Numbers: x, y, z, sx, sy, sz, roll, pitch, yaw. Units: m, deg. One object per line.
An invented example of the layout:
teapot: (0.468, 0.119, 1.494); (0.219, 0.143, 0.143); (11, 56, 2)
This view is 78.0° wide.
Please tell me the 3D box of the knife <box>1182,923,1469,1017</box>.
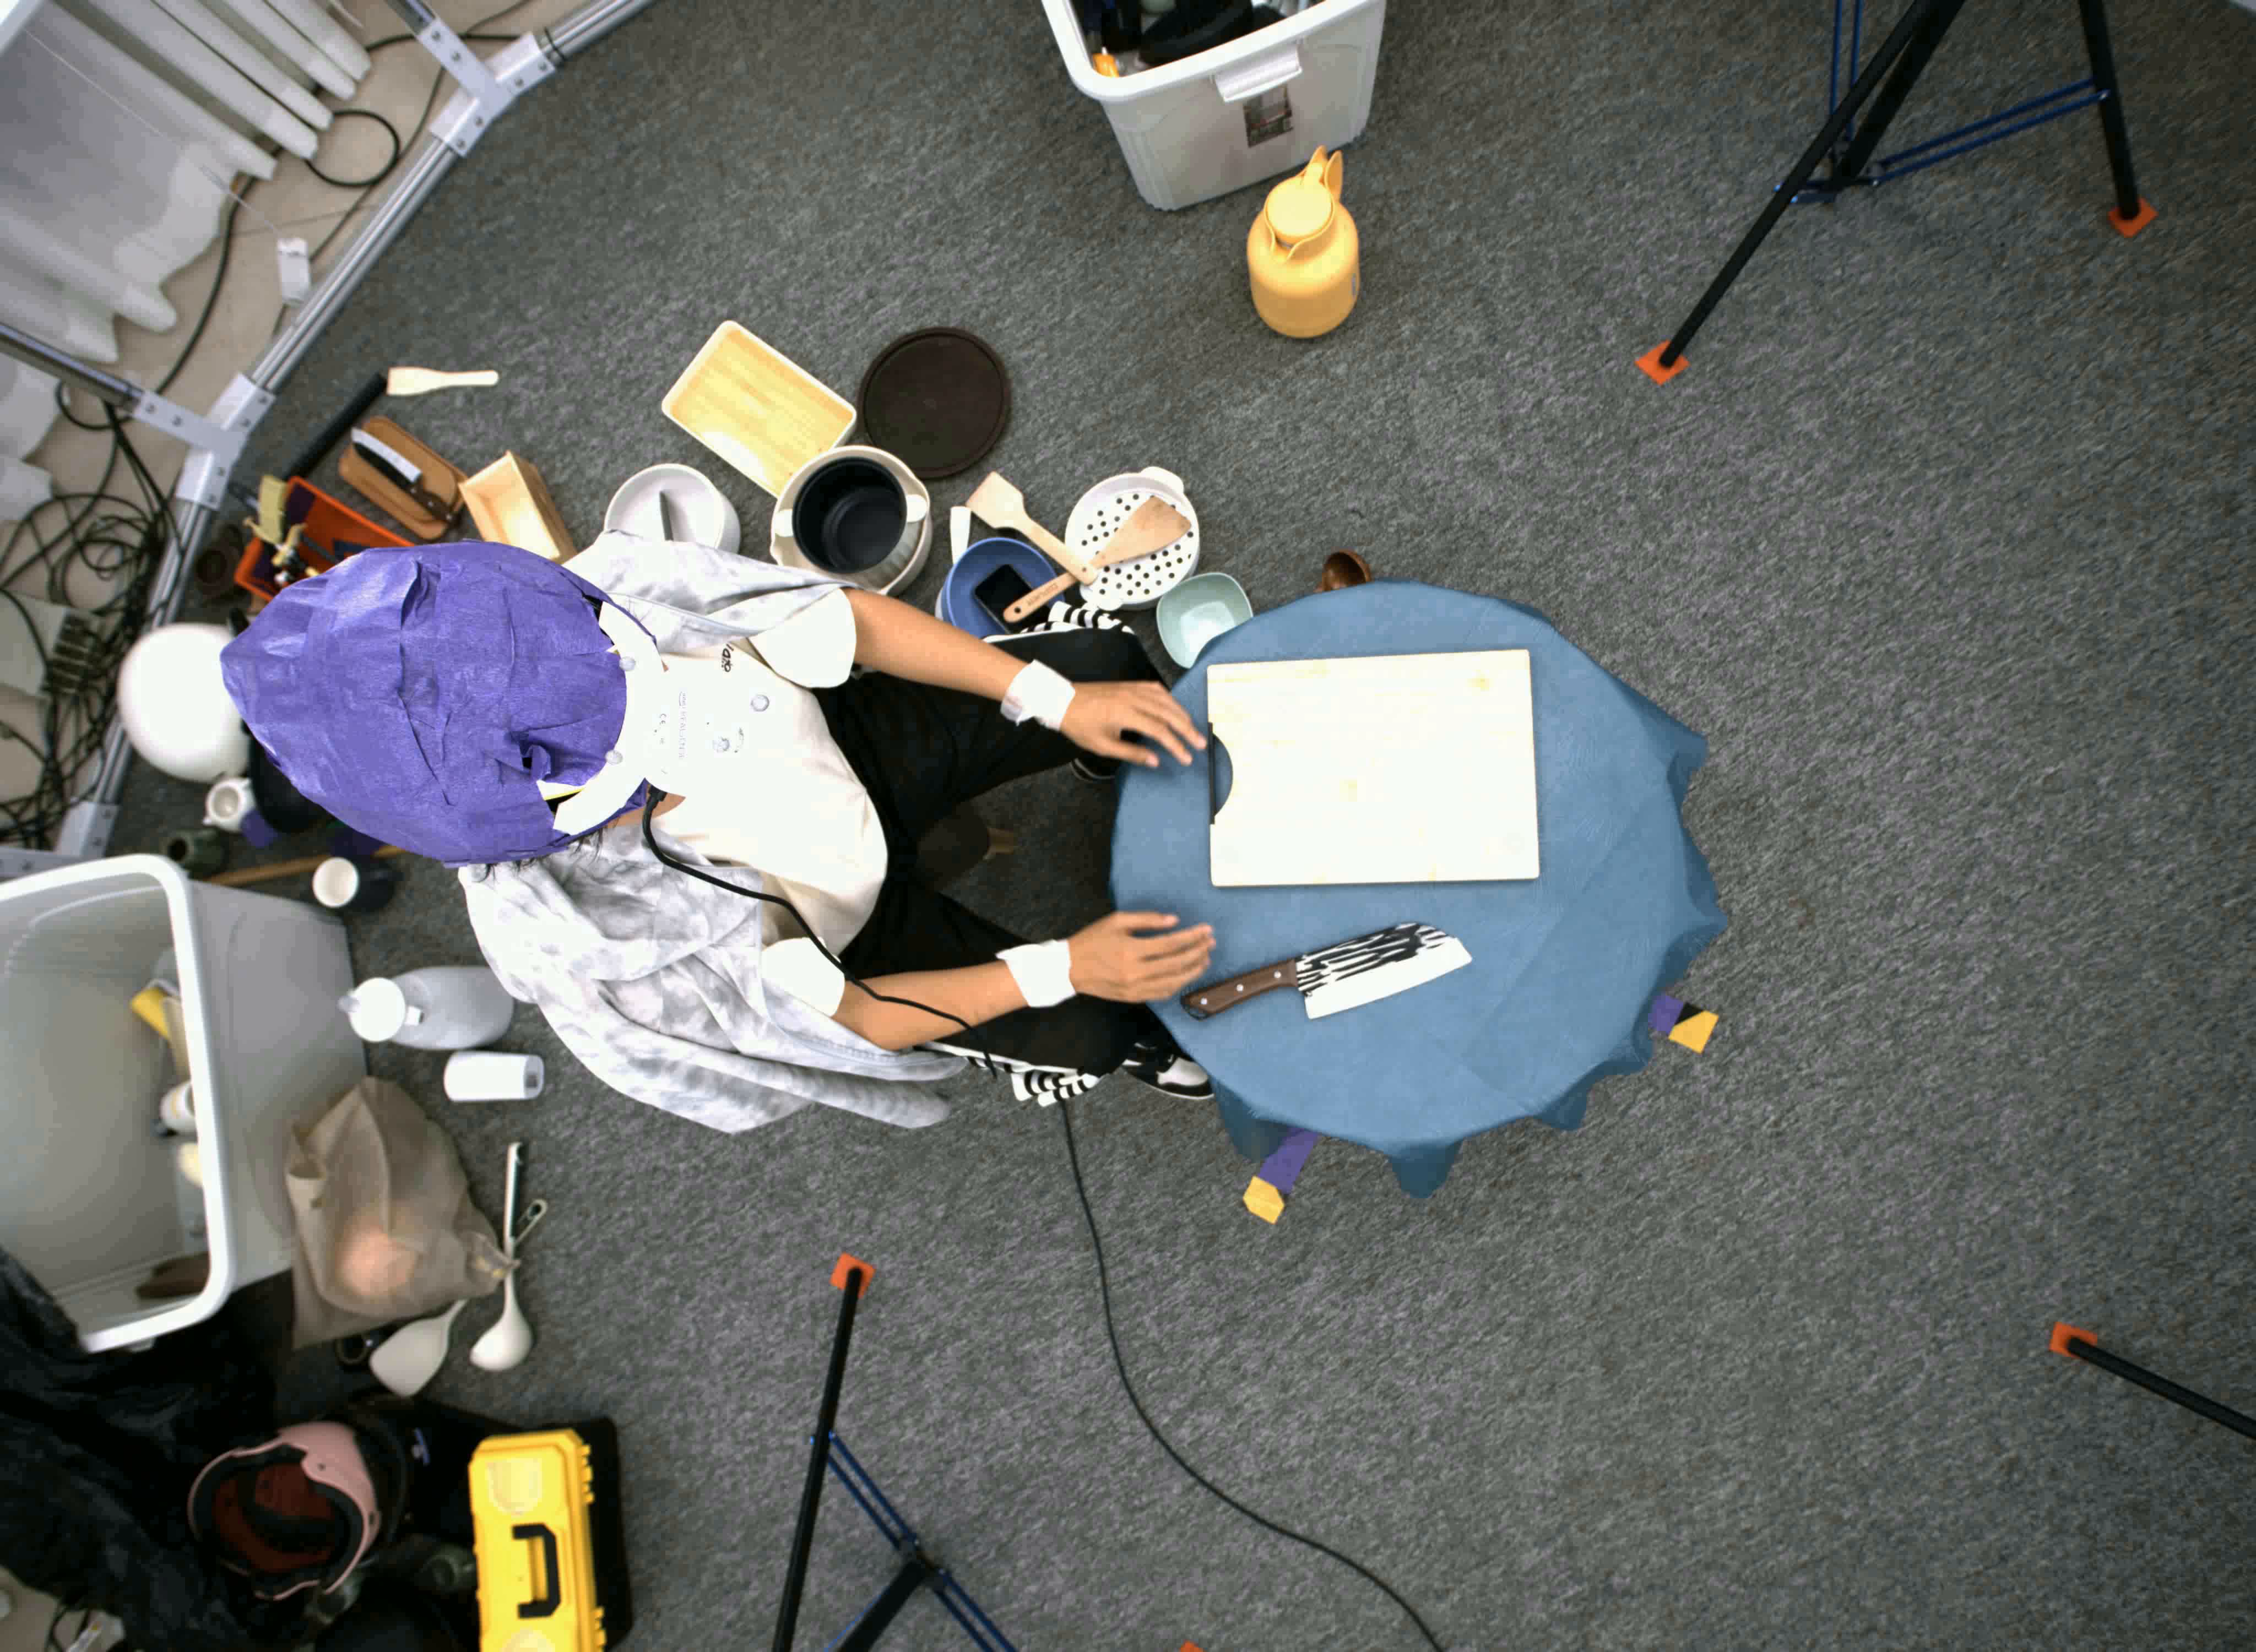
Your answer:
knife: (0.207, 0.160, 1.455); (0.301, 0.024, 0.068); (-17, 86, 6)

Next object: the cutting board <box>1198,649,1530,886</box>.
cutting board: (0.250, -0.062, 1.461); (0.350, 0.023, 0.249); (-3, 86, 11)
